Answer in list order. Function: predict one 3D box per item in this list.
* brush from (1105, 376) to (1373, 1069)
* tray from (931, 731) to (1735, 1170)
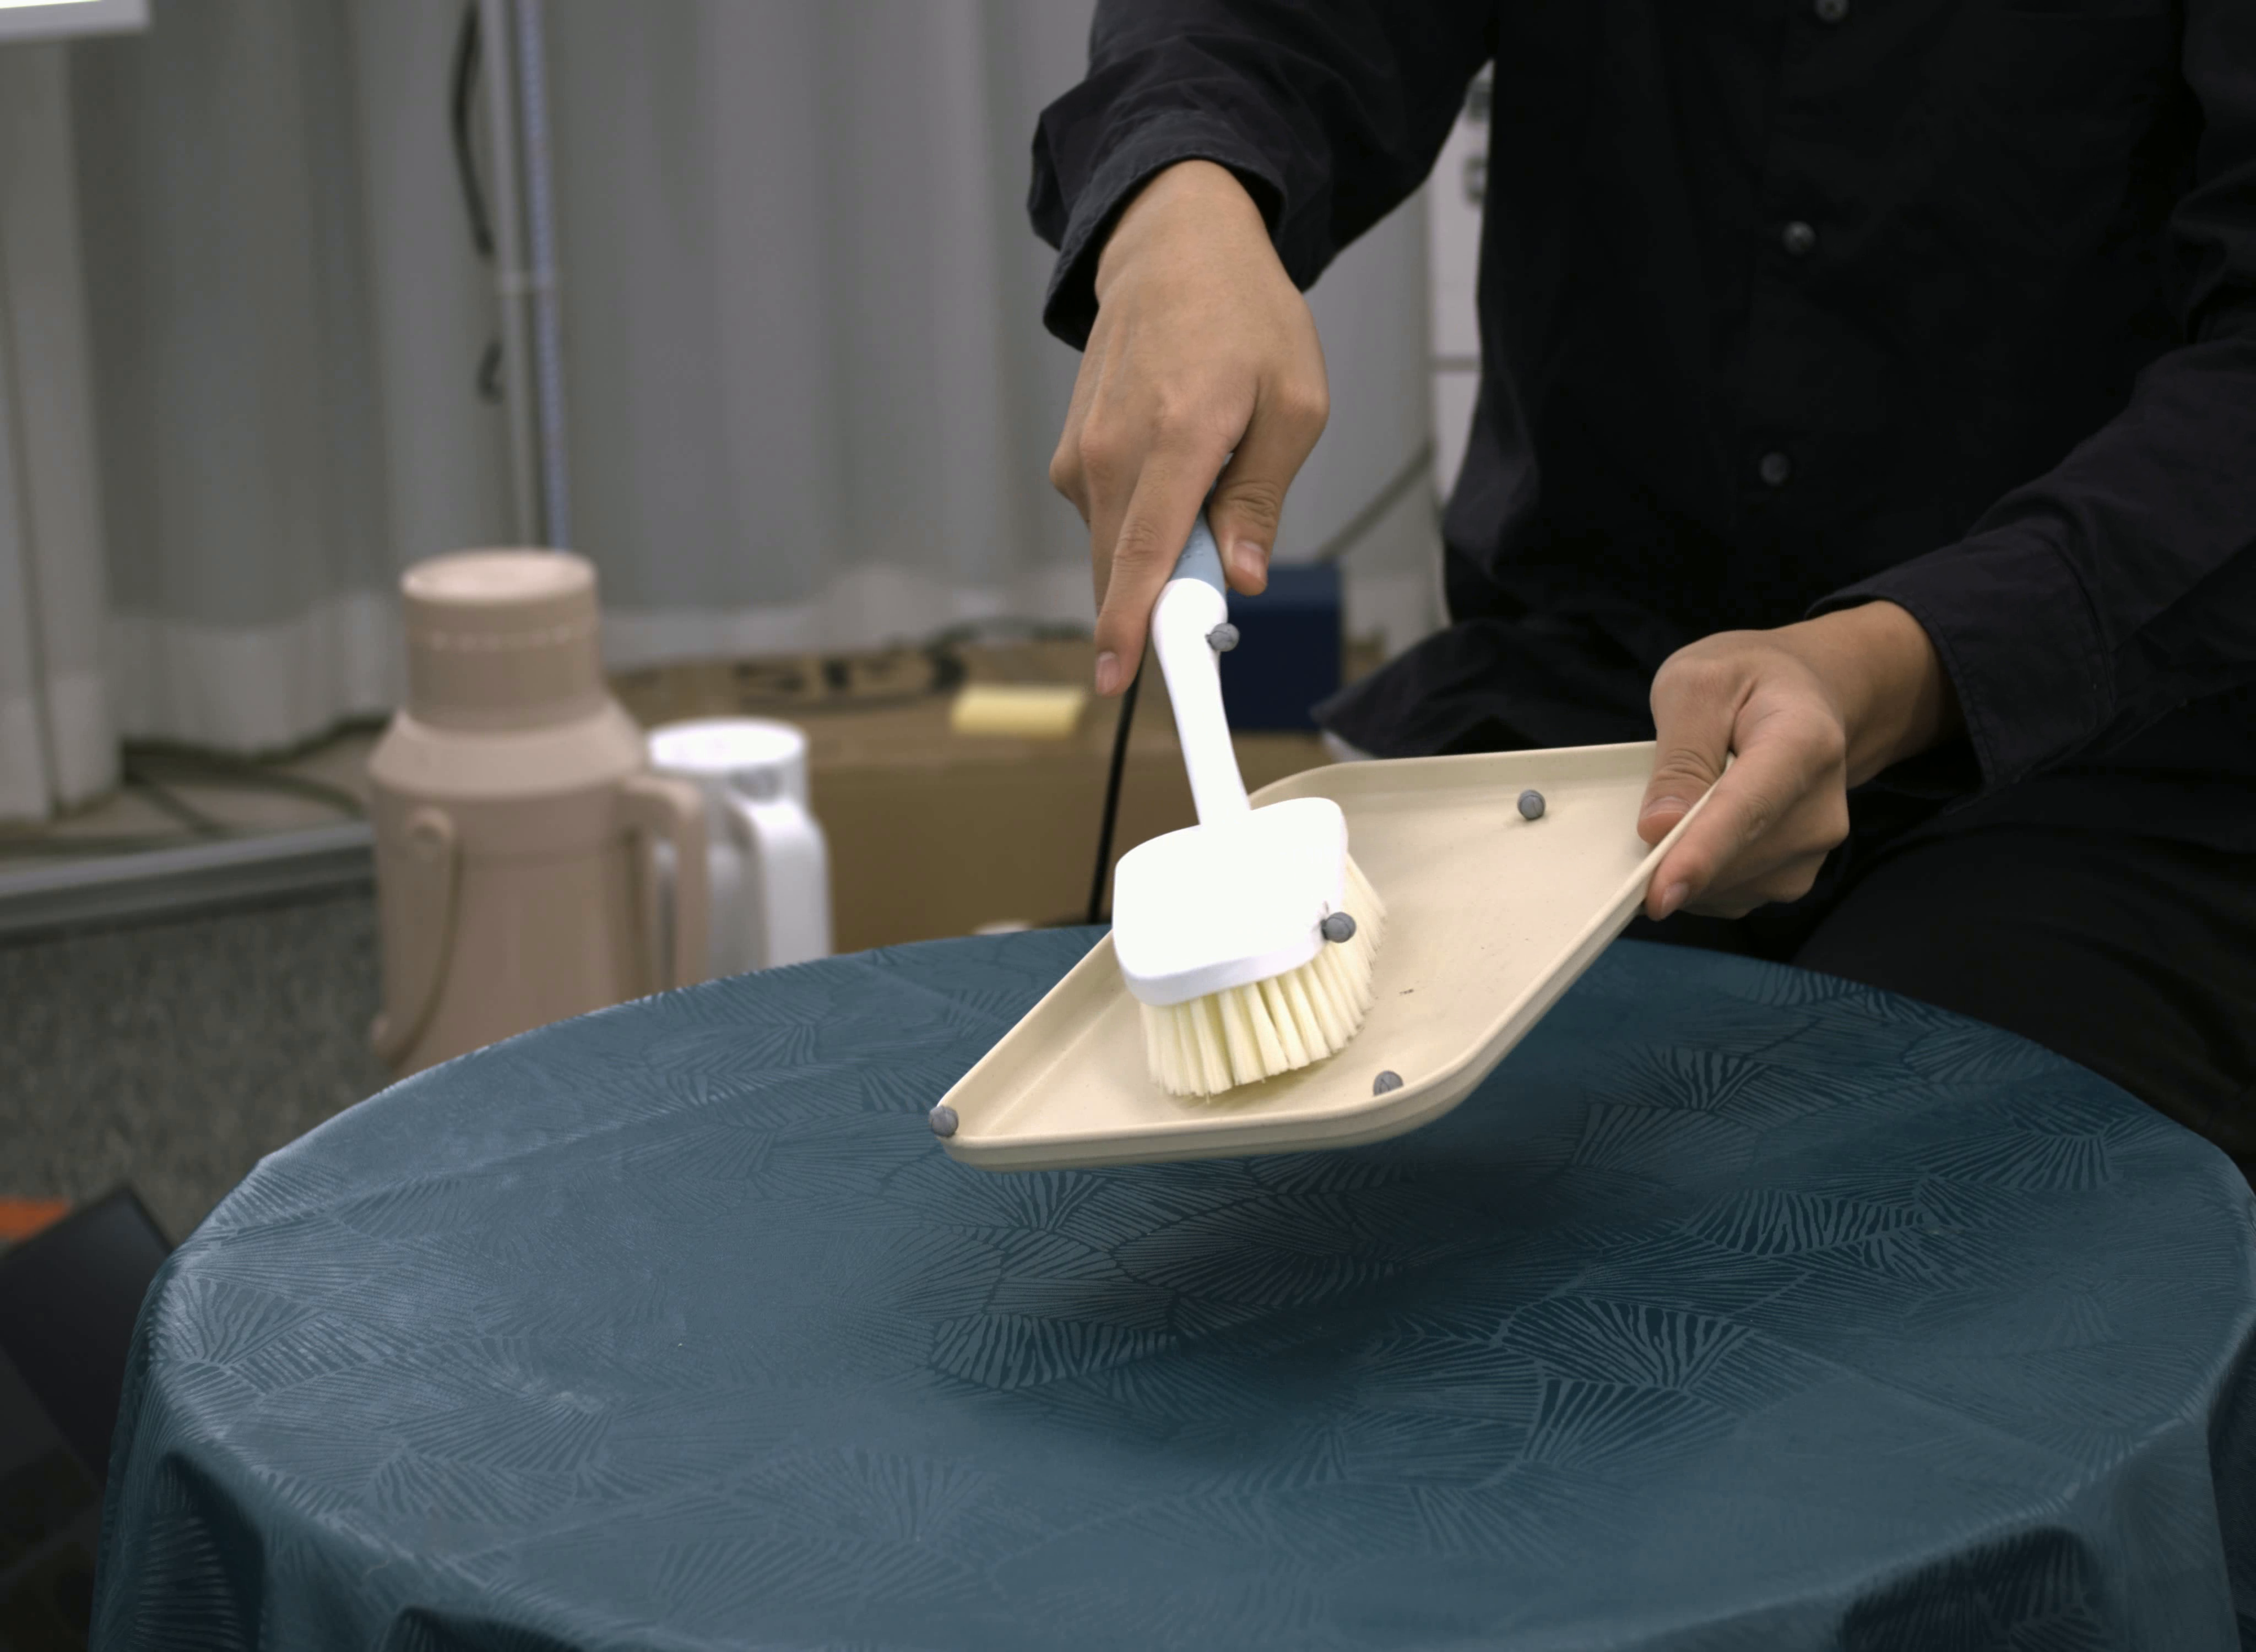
[{"bbox_3d":[0.032,-0.022,1.570,0.082,0.085,0.328,17,30,-12],"label":"brush"},{"bbox_3d":[0.062,0.035,1.496,0.174,0.017,0.236,-5,23,34],"label":"tray"}]
